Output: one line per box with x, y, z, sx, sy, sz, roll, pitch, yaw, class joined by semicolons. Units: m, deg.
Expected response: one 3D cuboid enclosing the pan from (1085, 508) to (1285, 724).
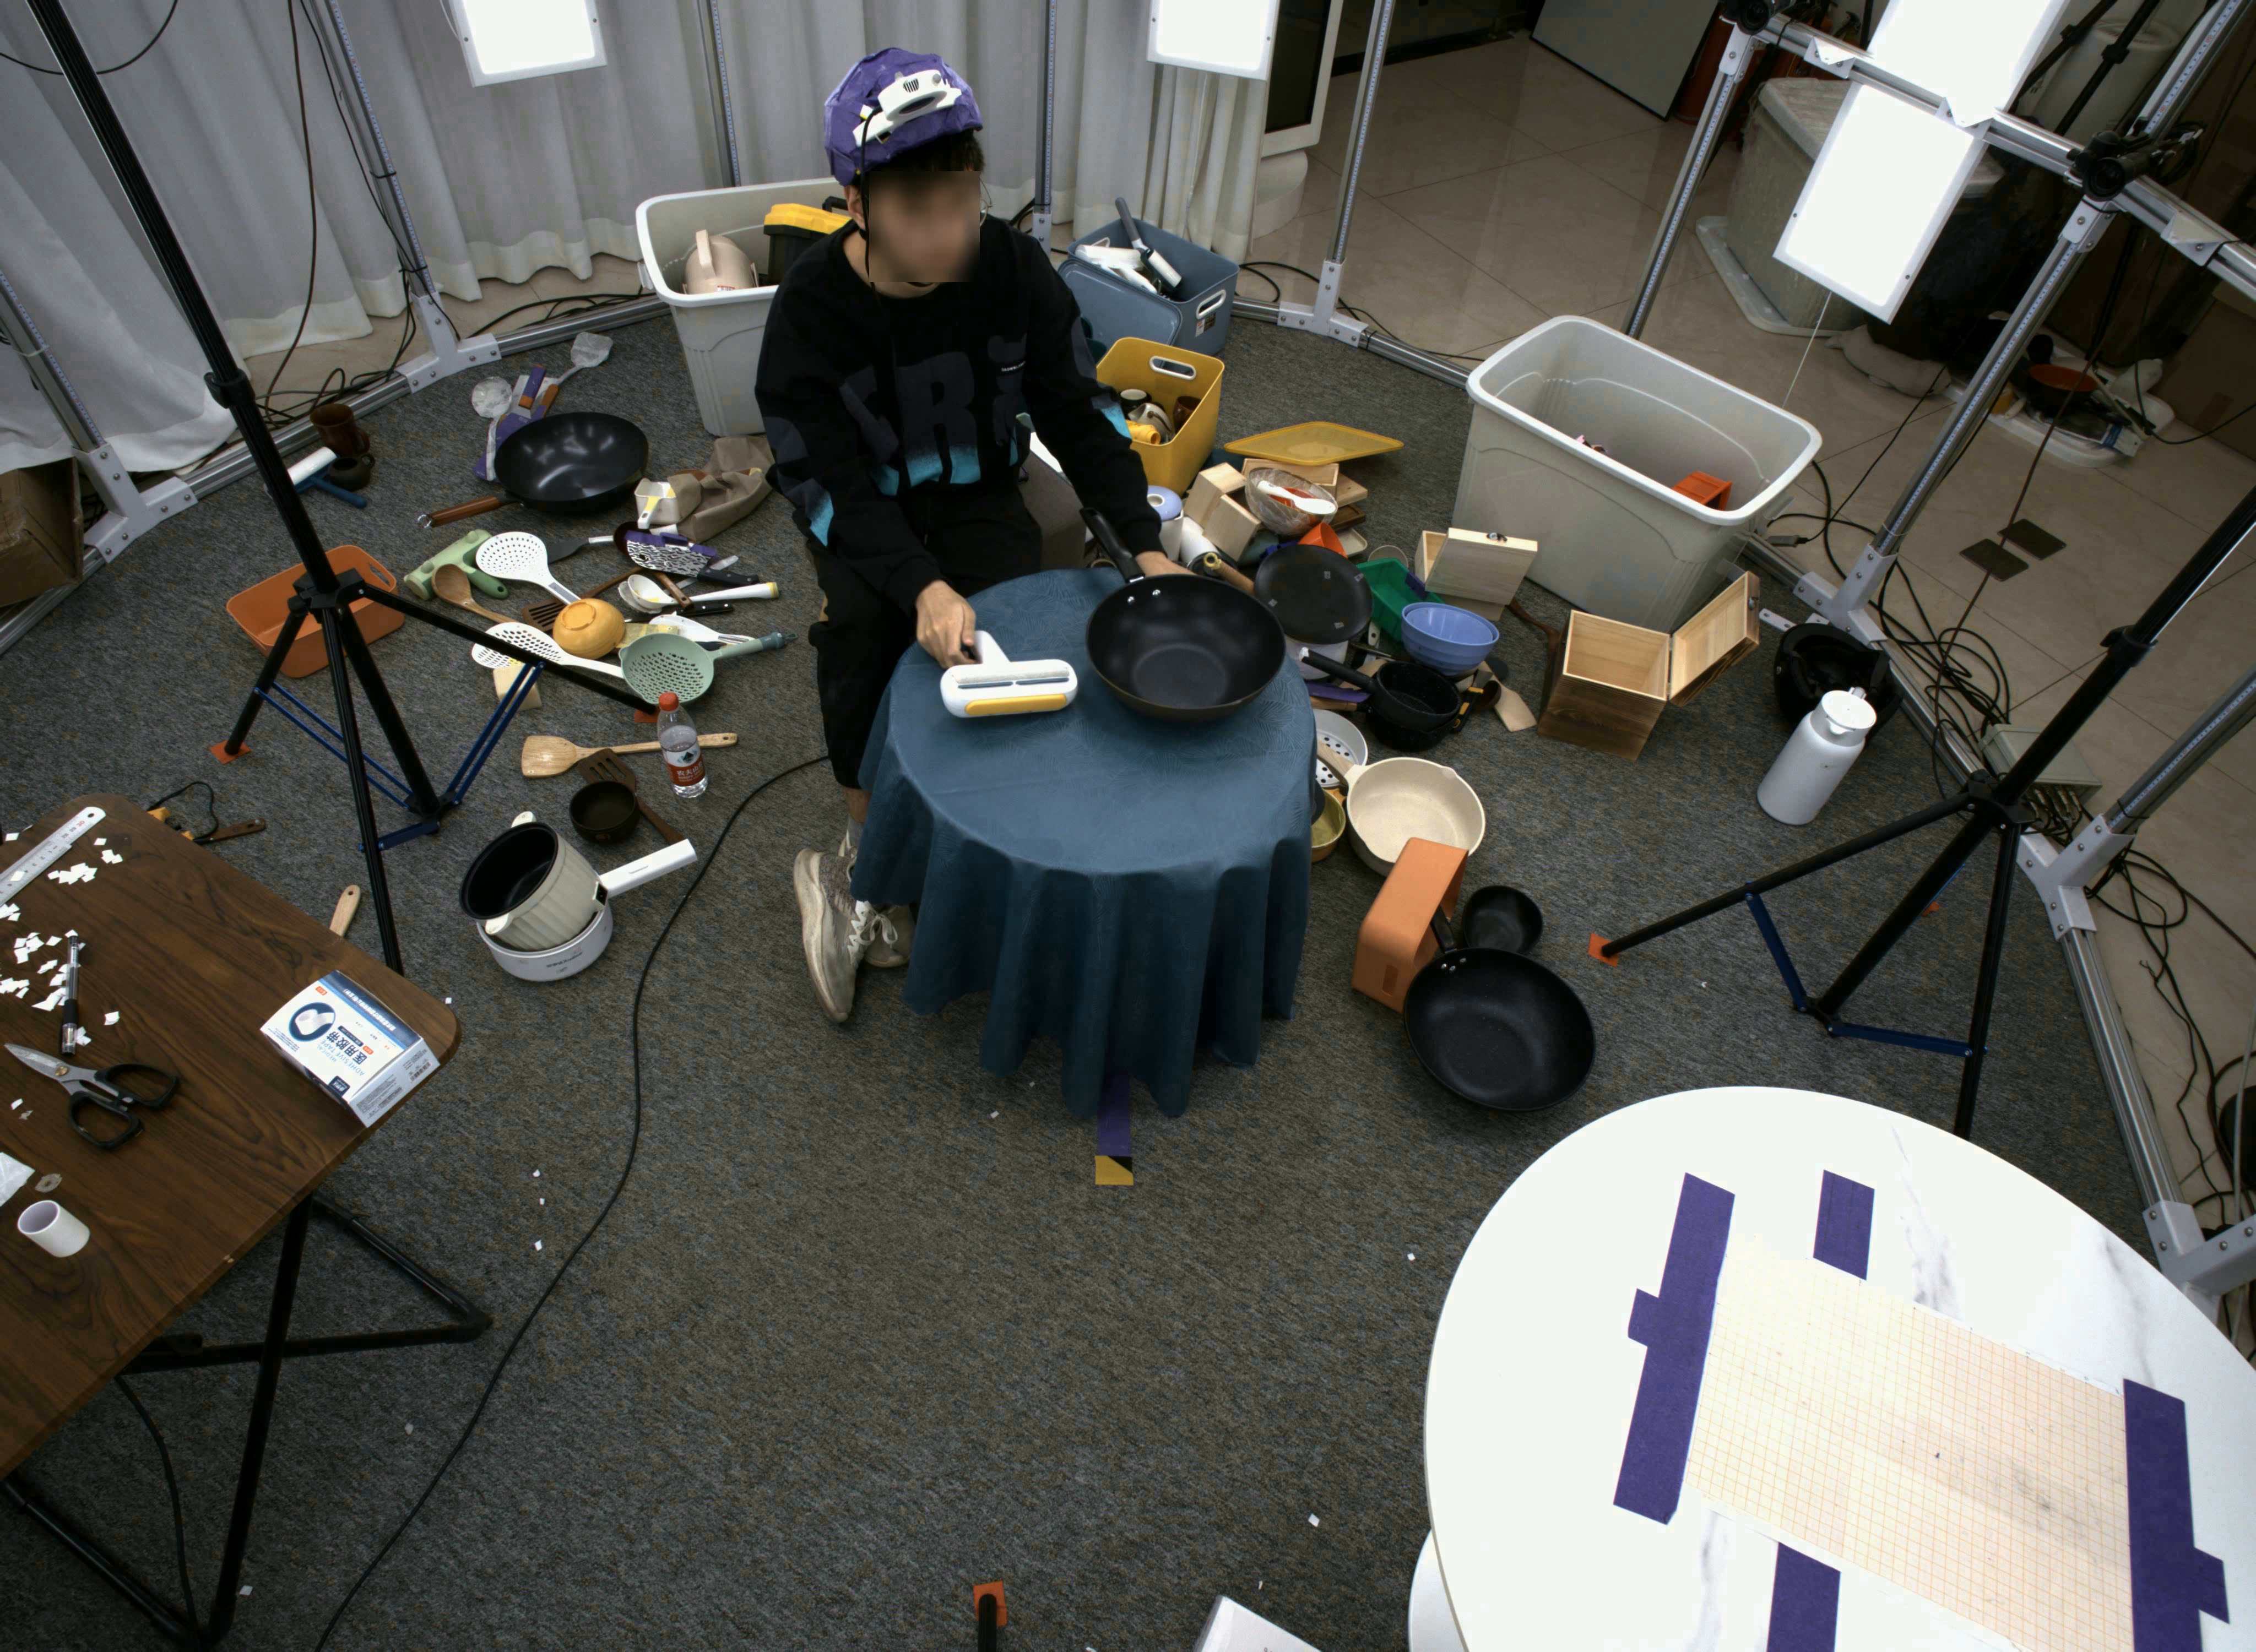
0.038;-0.302;1.879;0.288;0.085;0.474;-19;53;-19;pan

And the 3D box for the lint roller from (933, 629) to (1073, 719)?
-0.187;-0.227;1.809;0.192;0.072;0.197;-7;48;-17;lint roller
